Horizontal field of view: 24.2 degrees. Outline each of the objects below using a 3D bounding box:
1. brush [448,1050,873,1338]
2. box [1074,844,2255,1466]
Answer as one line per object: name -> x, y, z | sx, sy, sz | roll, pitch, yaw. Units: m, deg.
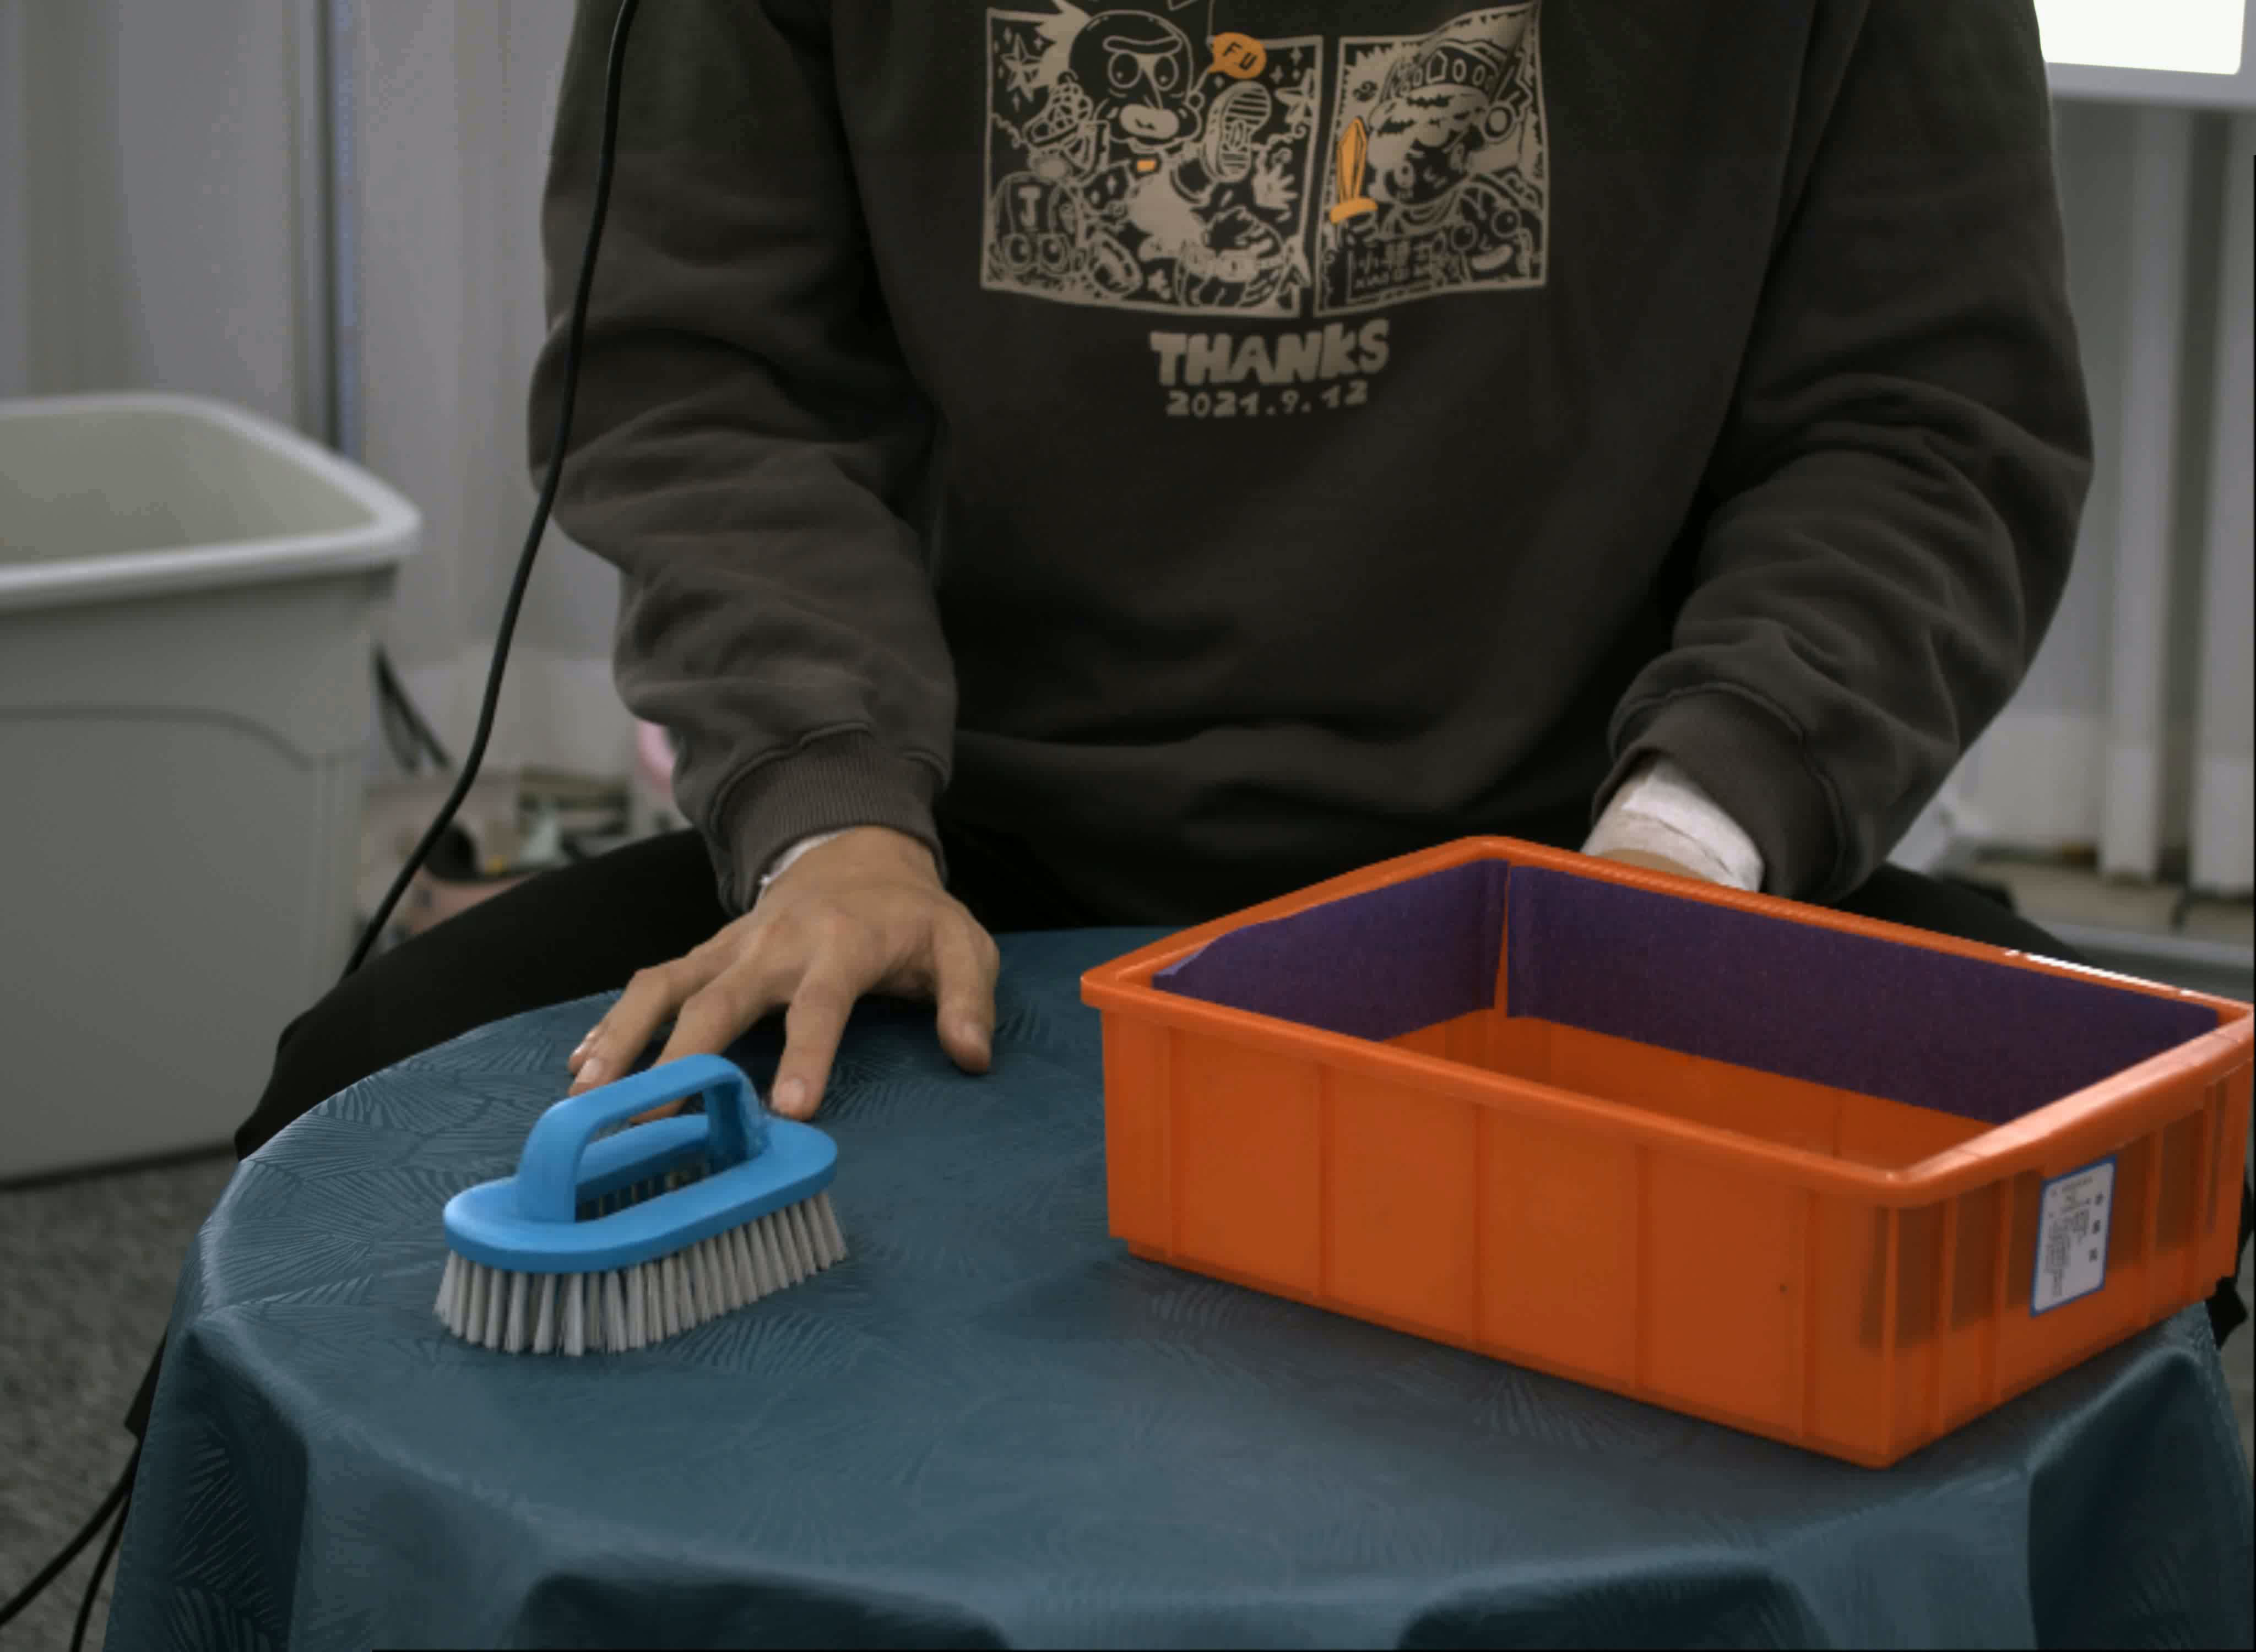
brush -> -0.139, 0.102, 1.539 | 0.083, 0.064, 0.142 | 8, 15, 39
box -> 0.157, 0.091, 1.553 | 0.299, 0.097, 0.207 | 14, 20, 38
